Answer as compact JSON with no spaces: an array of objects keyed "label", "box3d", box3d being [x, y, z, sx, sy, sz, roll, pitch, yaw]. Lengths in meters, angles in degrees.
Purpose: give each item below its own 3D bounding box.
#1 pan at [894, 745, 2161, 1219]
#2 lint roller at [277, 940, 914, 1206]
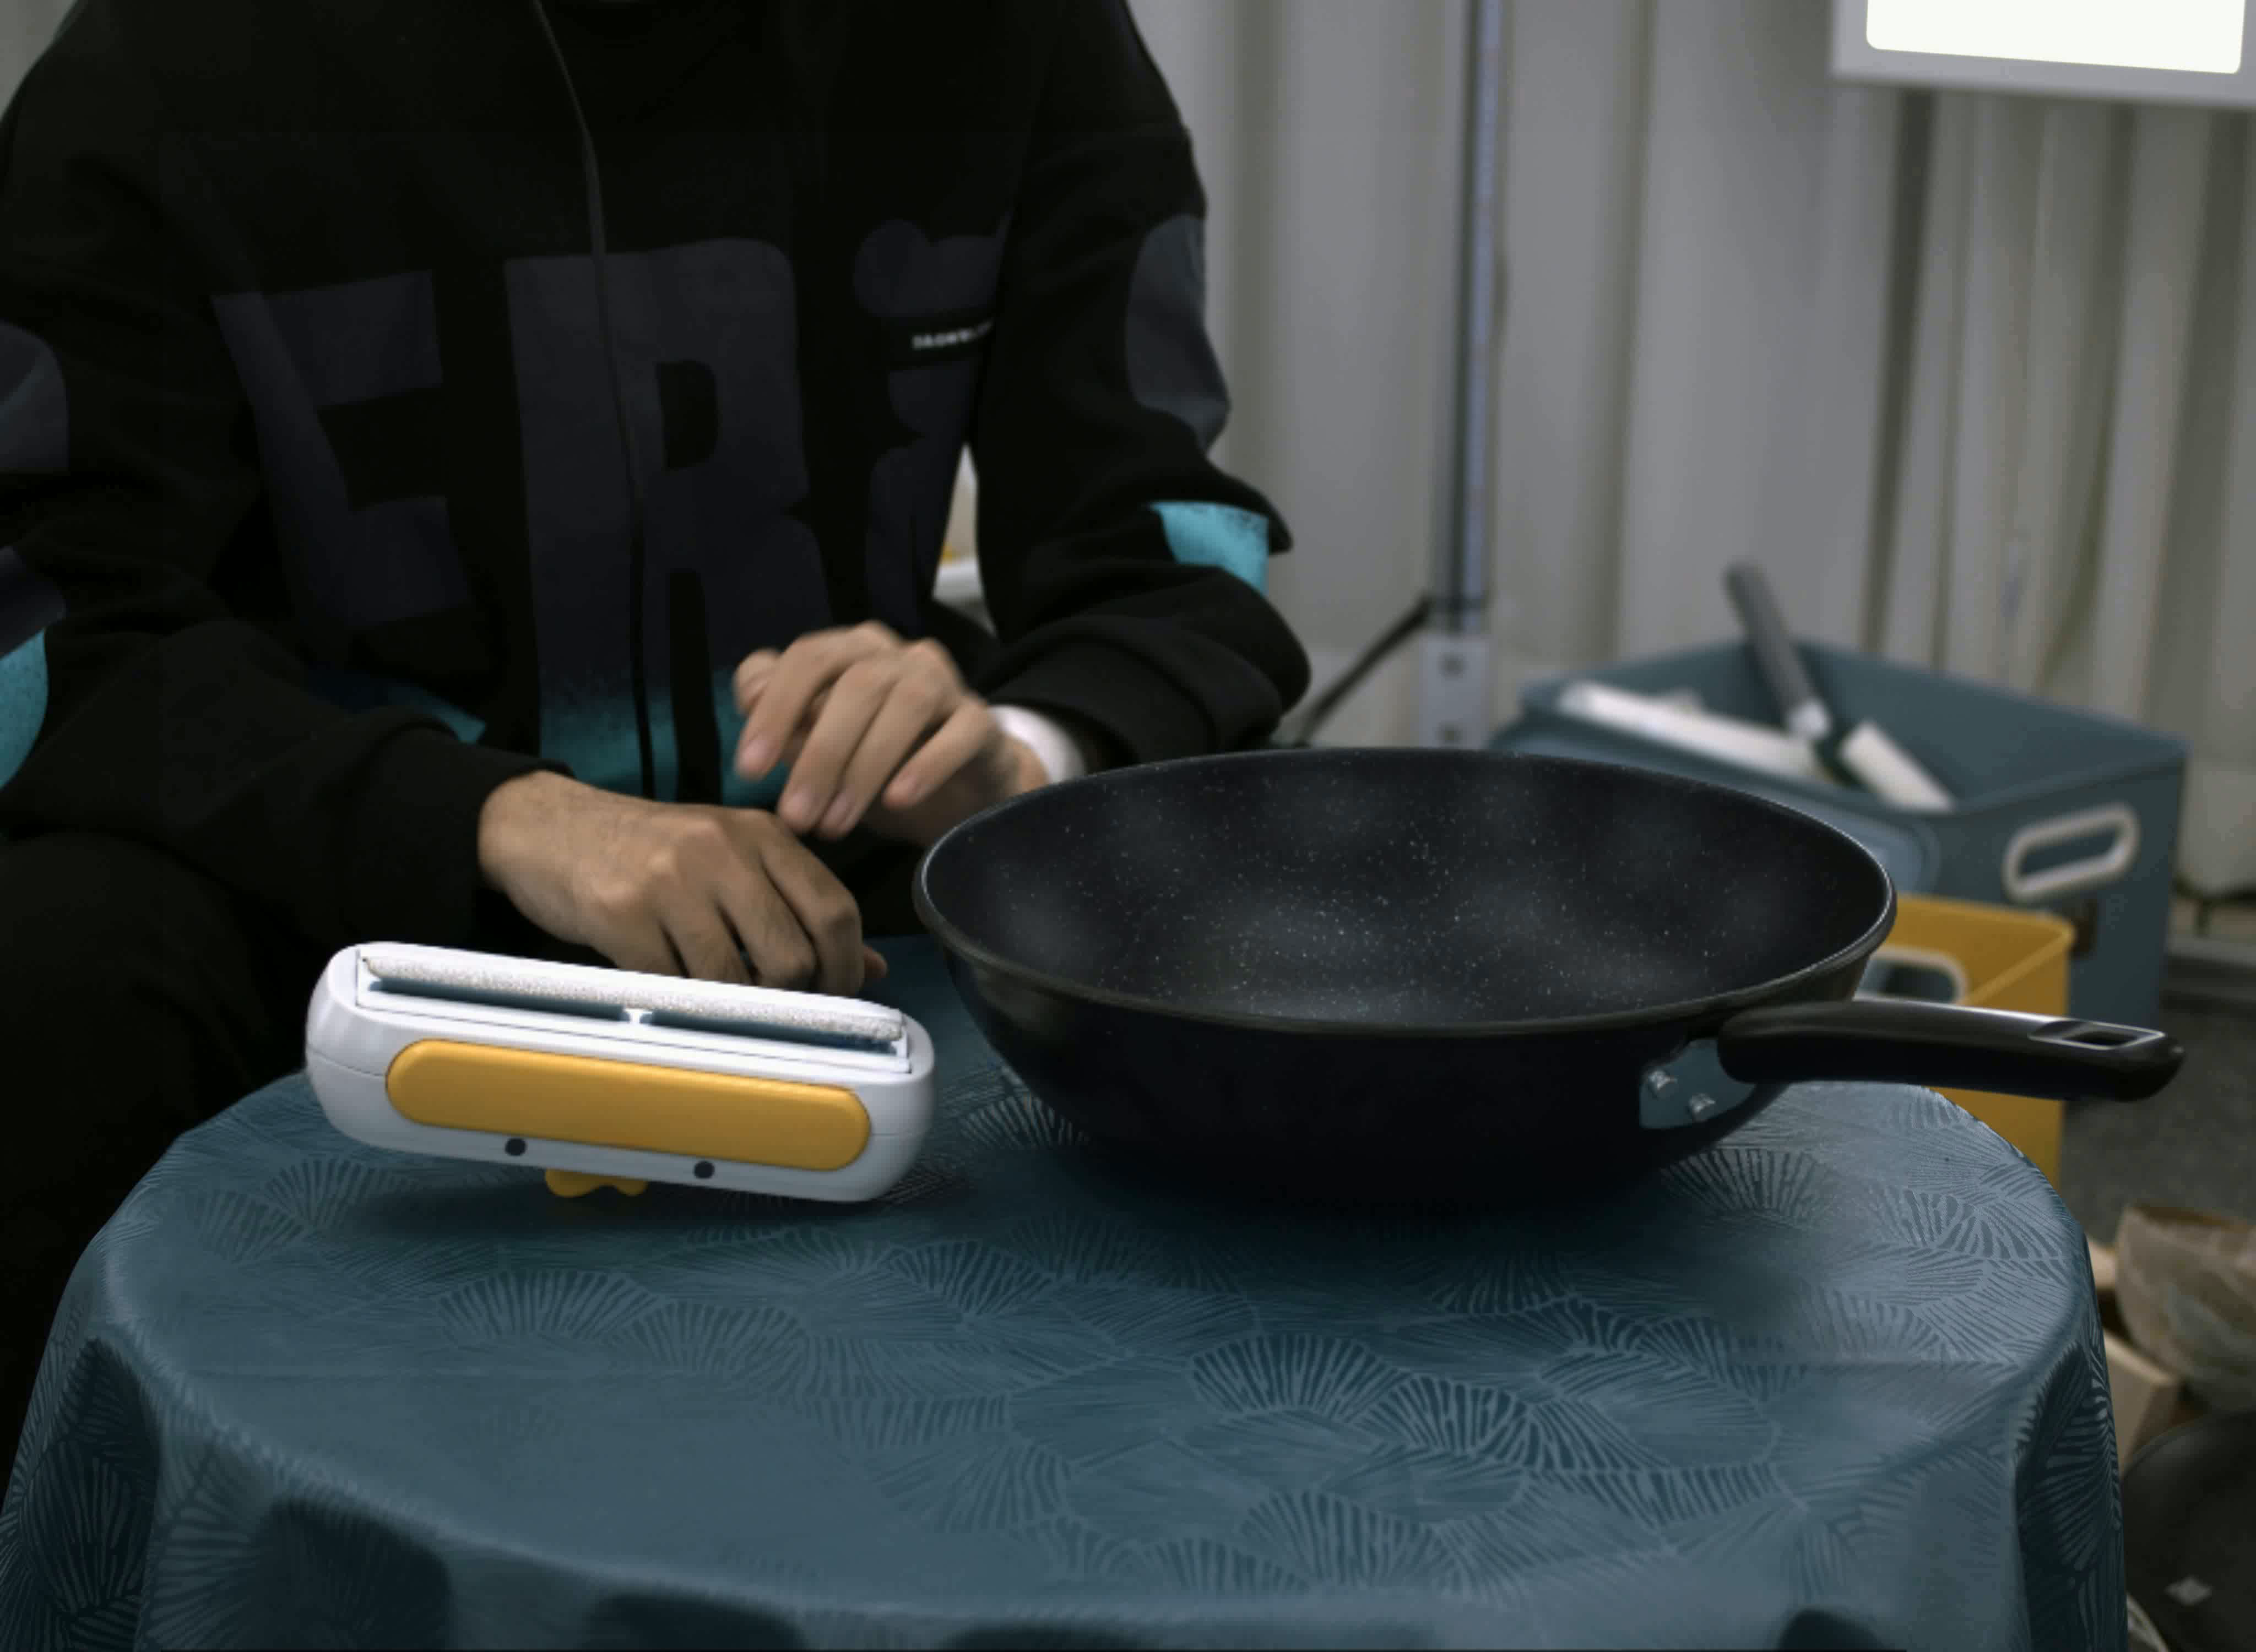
[{"label":"pan","box3d":[0.131,0.062,1.603,0.311,0.112,0.470,-13,20,-35]},{"label":"lint roller","box3d":[-0.166,0.067,1.652,0.193,0.075,0.191,4,13,-6]}]
